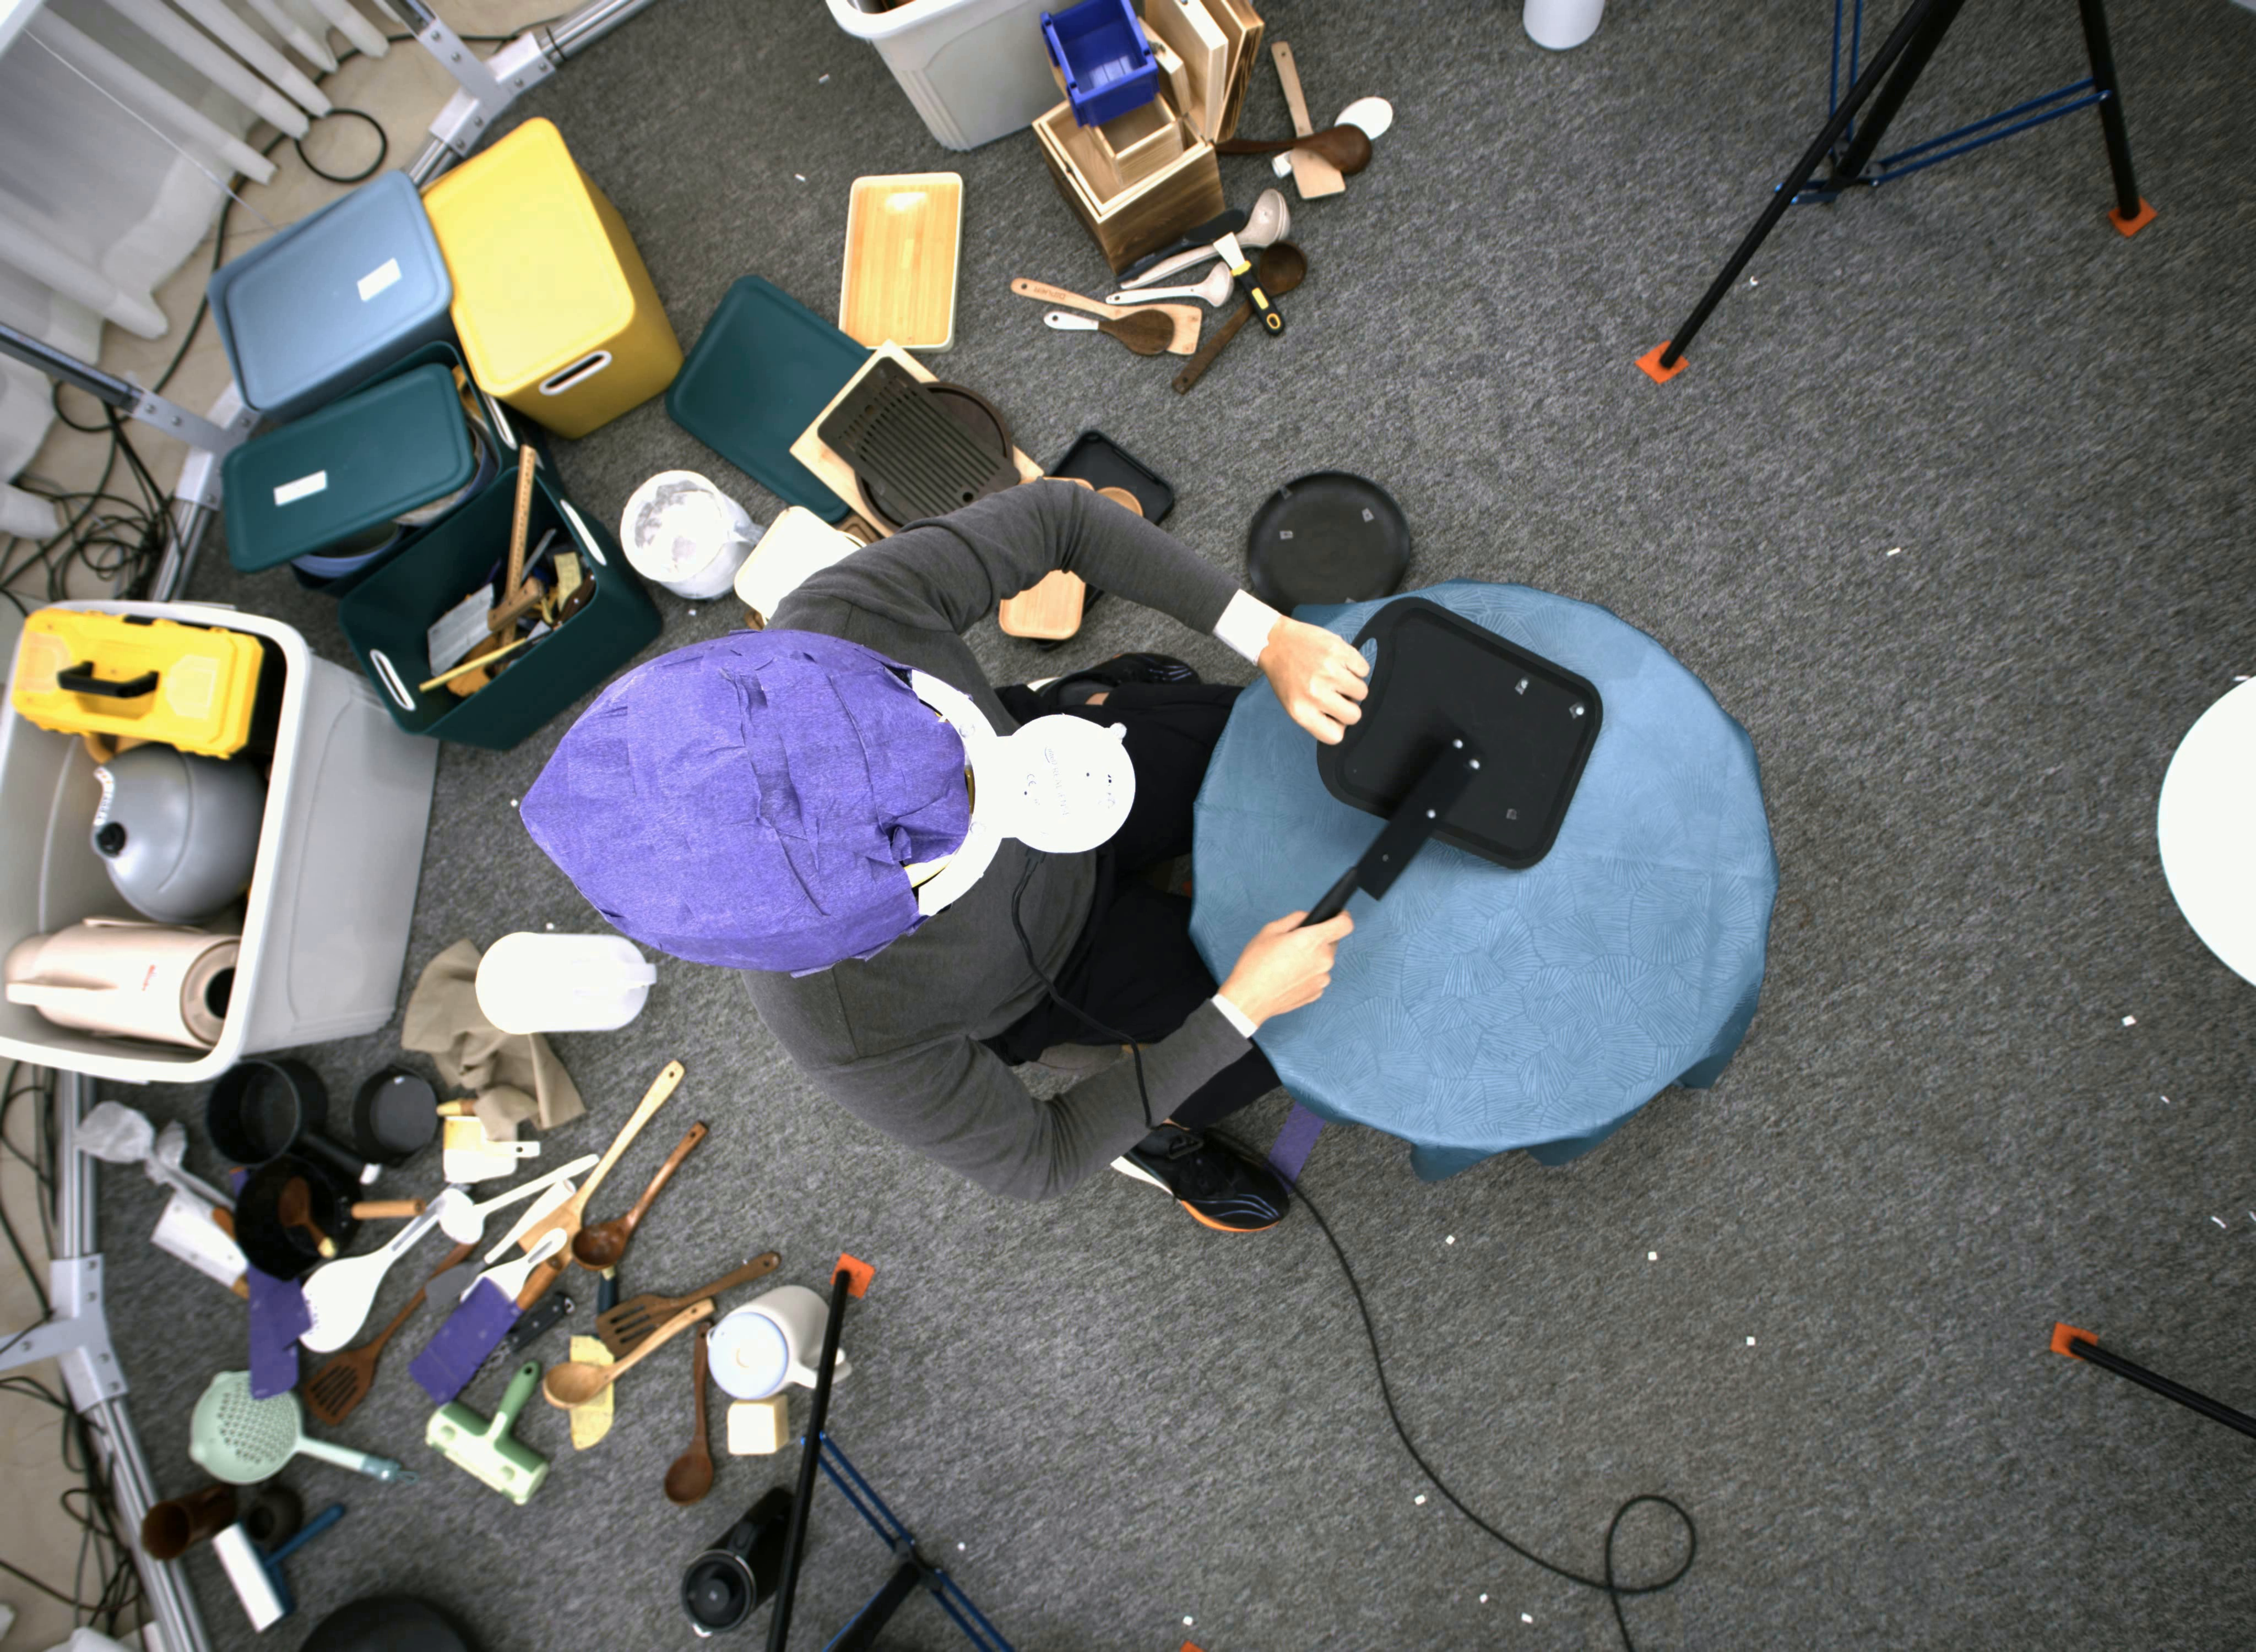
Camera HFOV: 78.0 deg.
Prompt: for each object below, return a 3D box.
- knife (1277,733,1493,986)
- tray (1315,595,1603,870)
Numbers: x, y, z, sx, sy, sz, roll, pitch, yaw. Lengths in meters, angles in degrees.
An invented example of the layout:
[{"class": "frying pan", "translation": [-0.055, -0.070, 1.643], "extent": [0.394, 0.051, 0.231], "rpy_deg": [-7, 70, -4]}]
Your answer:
[{"class": "knife", "translation": [0.251, 0.036, 1.353], "extent": [0.303, 0.082, 0.020], "rpy_deg": [-48, 42, 2]}, {"class": "tray", "translation": [0.328, -0.091, 1.352], "extent": [0.326, 0.010, 0.212], "rpy_deg": [20, 97, -25]}]
